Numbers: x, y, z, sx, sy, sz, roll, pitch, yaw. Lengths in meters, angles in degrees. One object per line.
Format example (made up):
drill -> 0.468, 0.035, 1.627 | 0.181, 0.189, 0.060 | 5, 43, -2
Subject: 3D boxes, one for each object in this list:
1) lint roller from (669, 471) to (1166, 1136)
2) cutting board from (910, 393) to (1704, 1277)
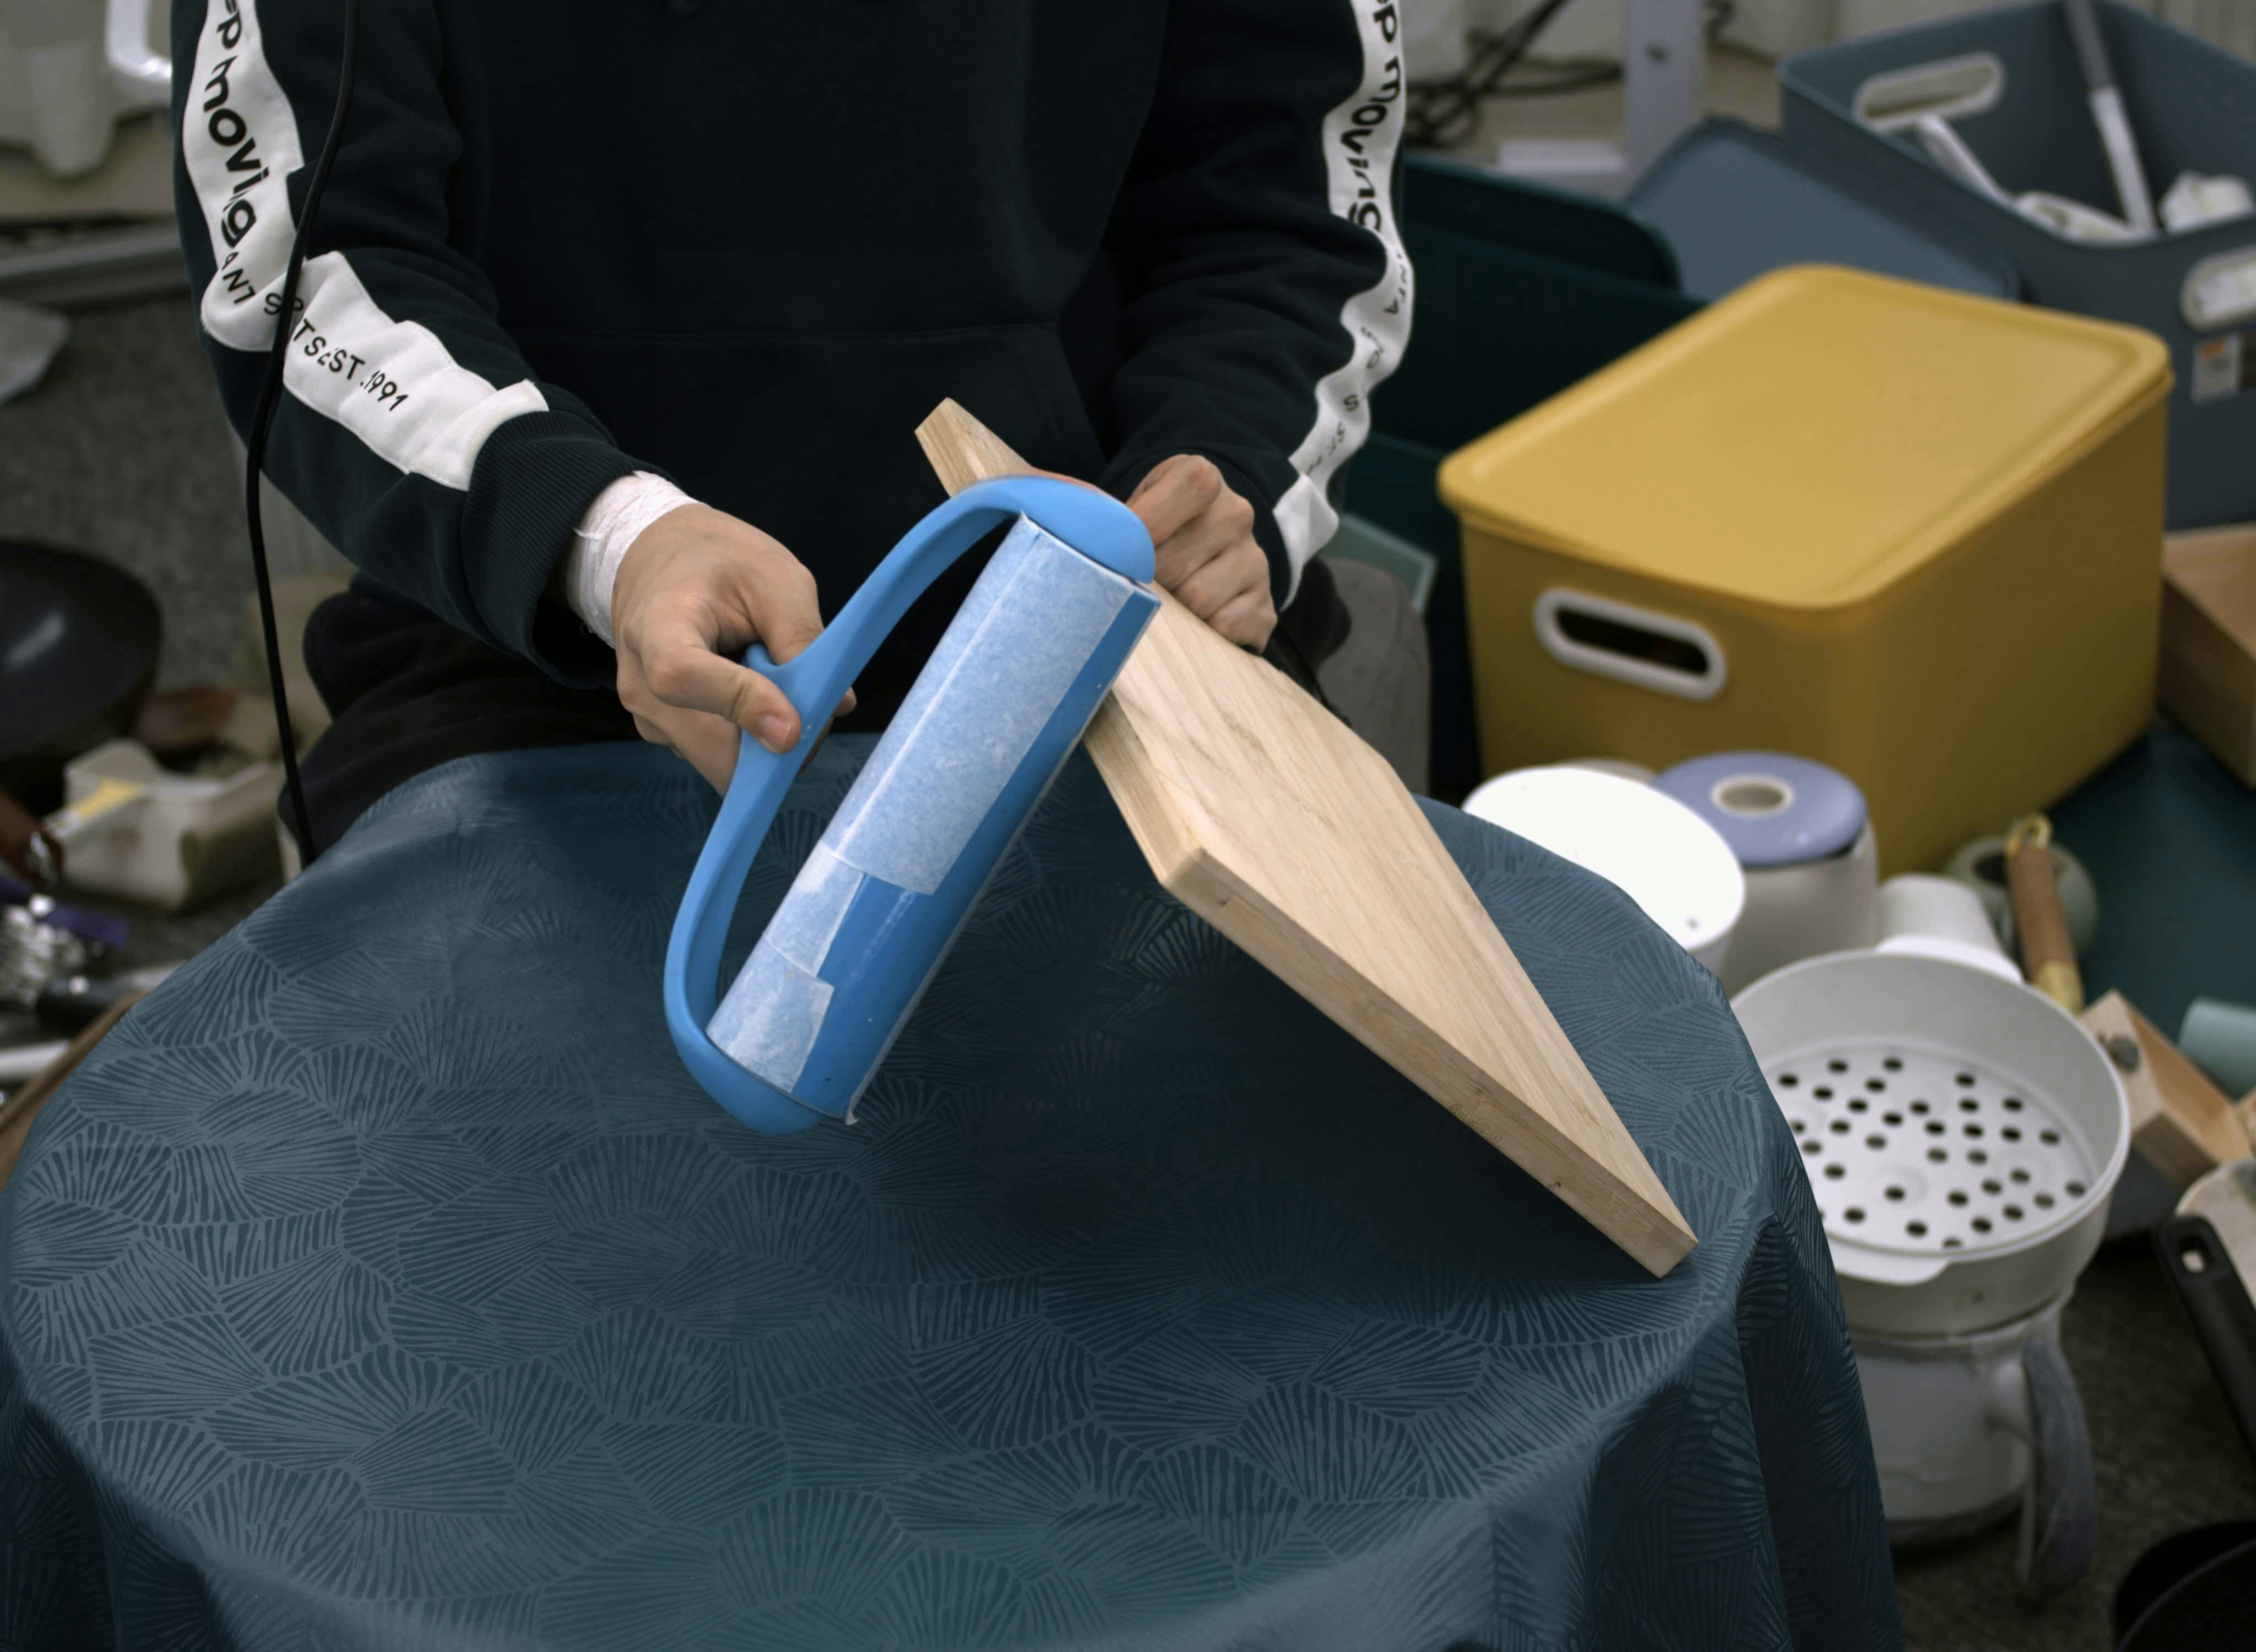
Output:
lint roller -> -0.093, -0.026, 1.805 | 0.067, 0.229, 0.181 | 27, 3, -40
cutting board -> 0.052, -0.004, 1.888 | 0.023, 0.249, 0.352 | -46, 31, 10
